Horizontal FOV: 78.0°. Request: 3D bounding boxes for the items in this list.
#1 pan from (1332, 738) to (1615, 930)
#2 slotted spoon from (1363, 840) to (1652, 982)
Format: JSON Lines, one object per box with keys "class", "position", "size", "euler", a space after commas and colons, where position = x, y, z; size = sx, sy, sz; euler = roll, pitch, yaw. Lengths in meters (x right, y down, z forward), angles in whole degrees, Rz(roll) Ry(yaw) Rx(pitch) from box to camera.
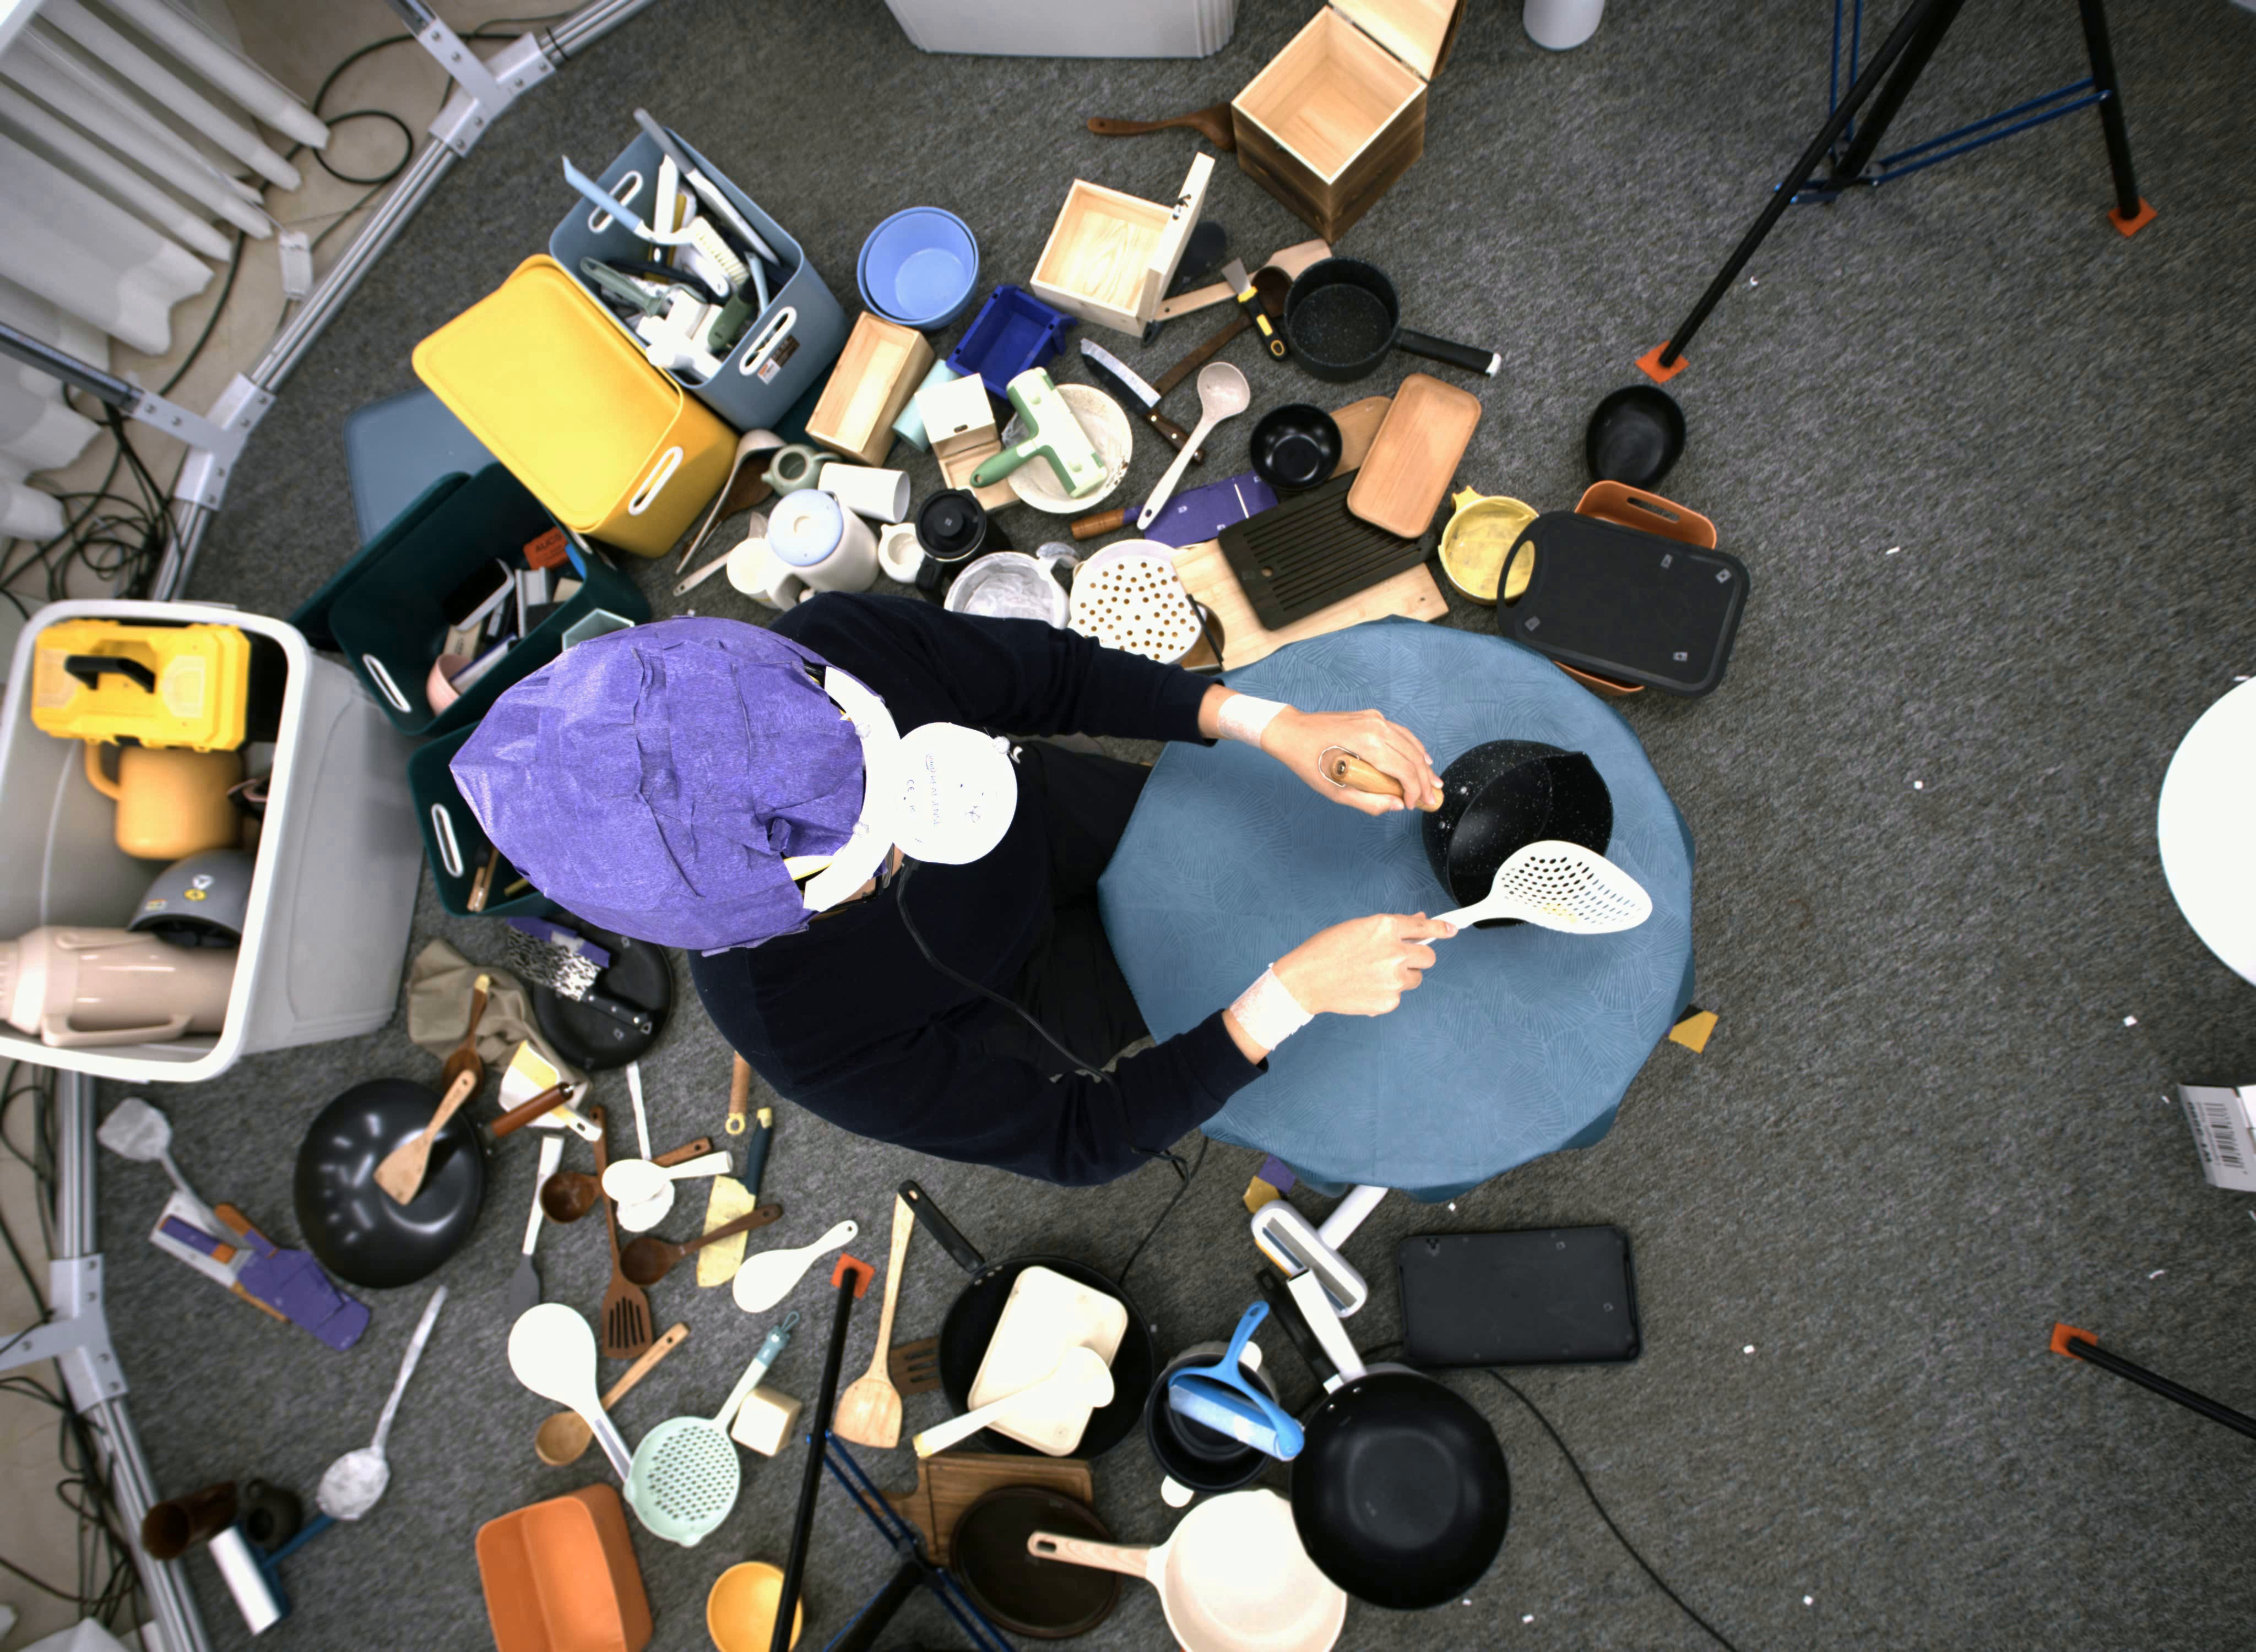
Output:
{"class": "pan", "position": [0.314, -0.020, 1.320], "size": [0.343, 0.106, 0.211], "euler": [17, 111, -27]}
{"class": "slotted spoon", "position": [0.342, 0.083, 1.266], "size": [0.135, 0.344, 0.051], "euler": [46, 132, 39]}
